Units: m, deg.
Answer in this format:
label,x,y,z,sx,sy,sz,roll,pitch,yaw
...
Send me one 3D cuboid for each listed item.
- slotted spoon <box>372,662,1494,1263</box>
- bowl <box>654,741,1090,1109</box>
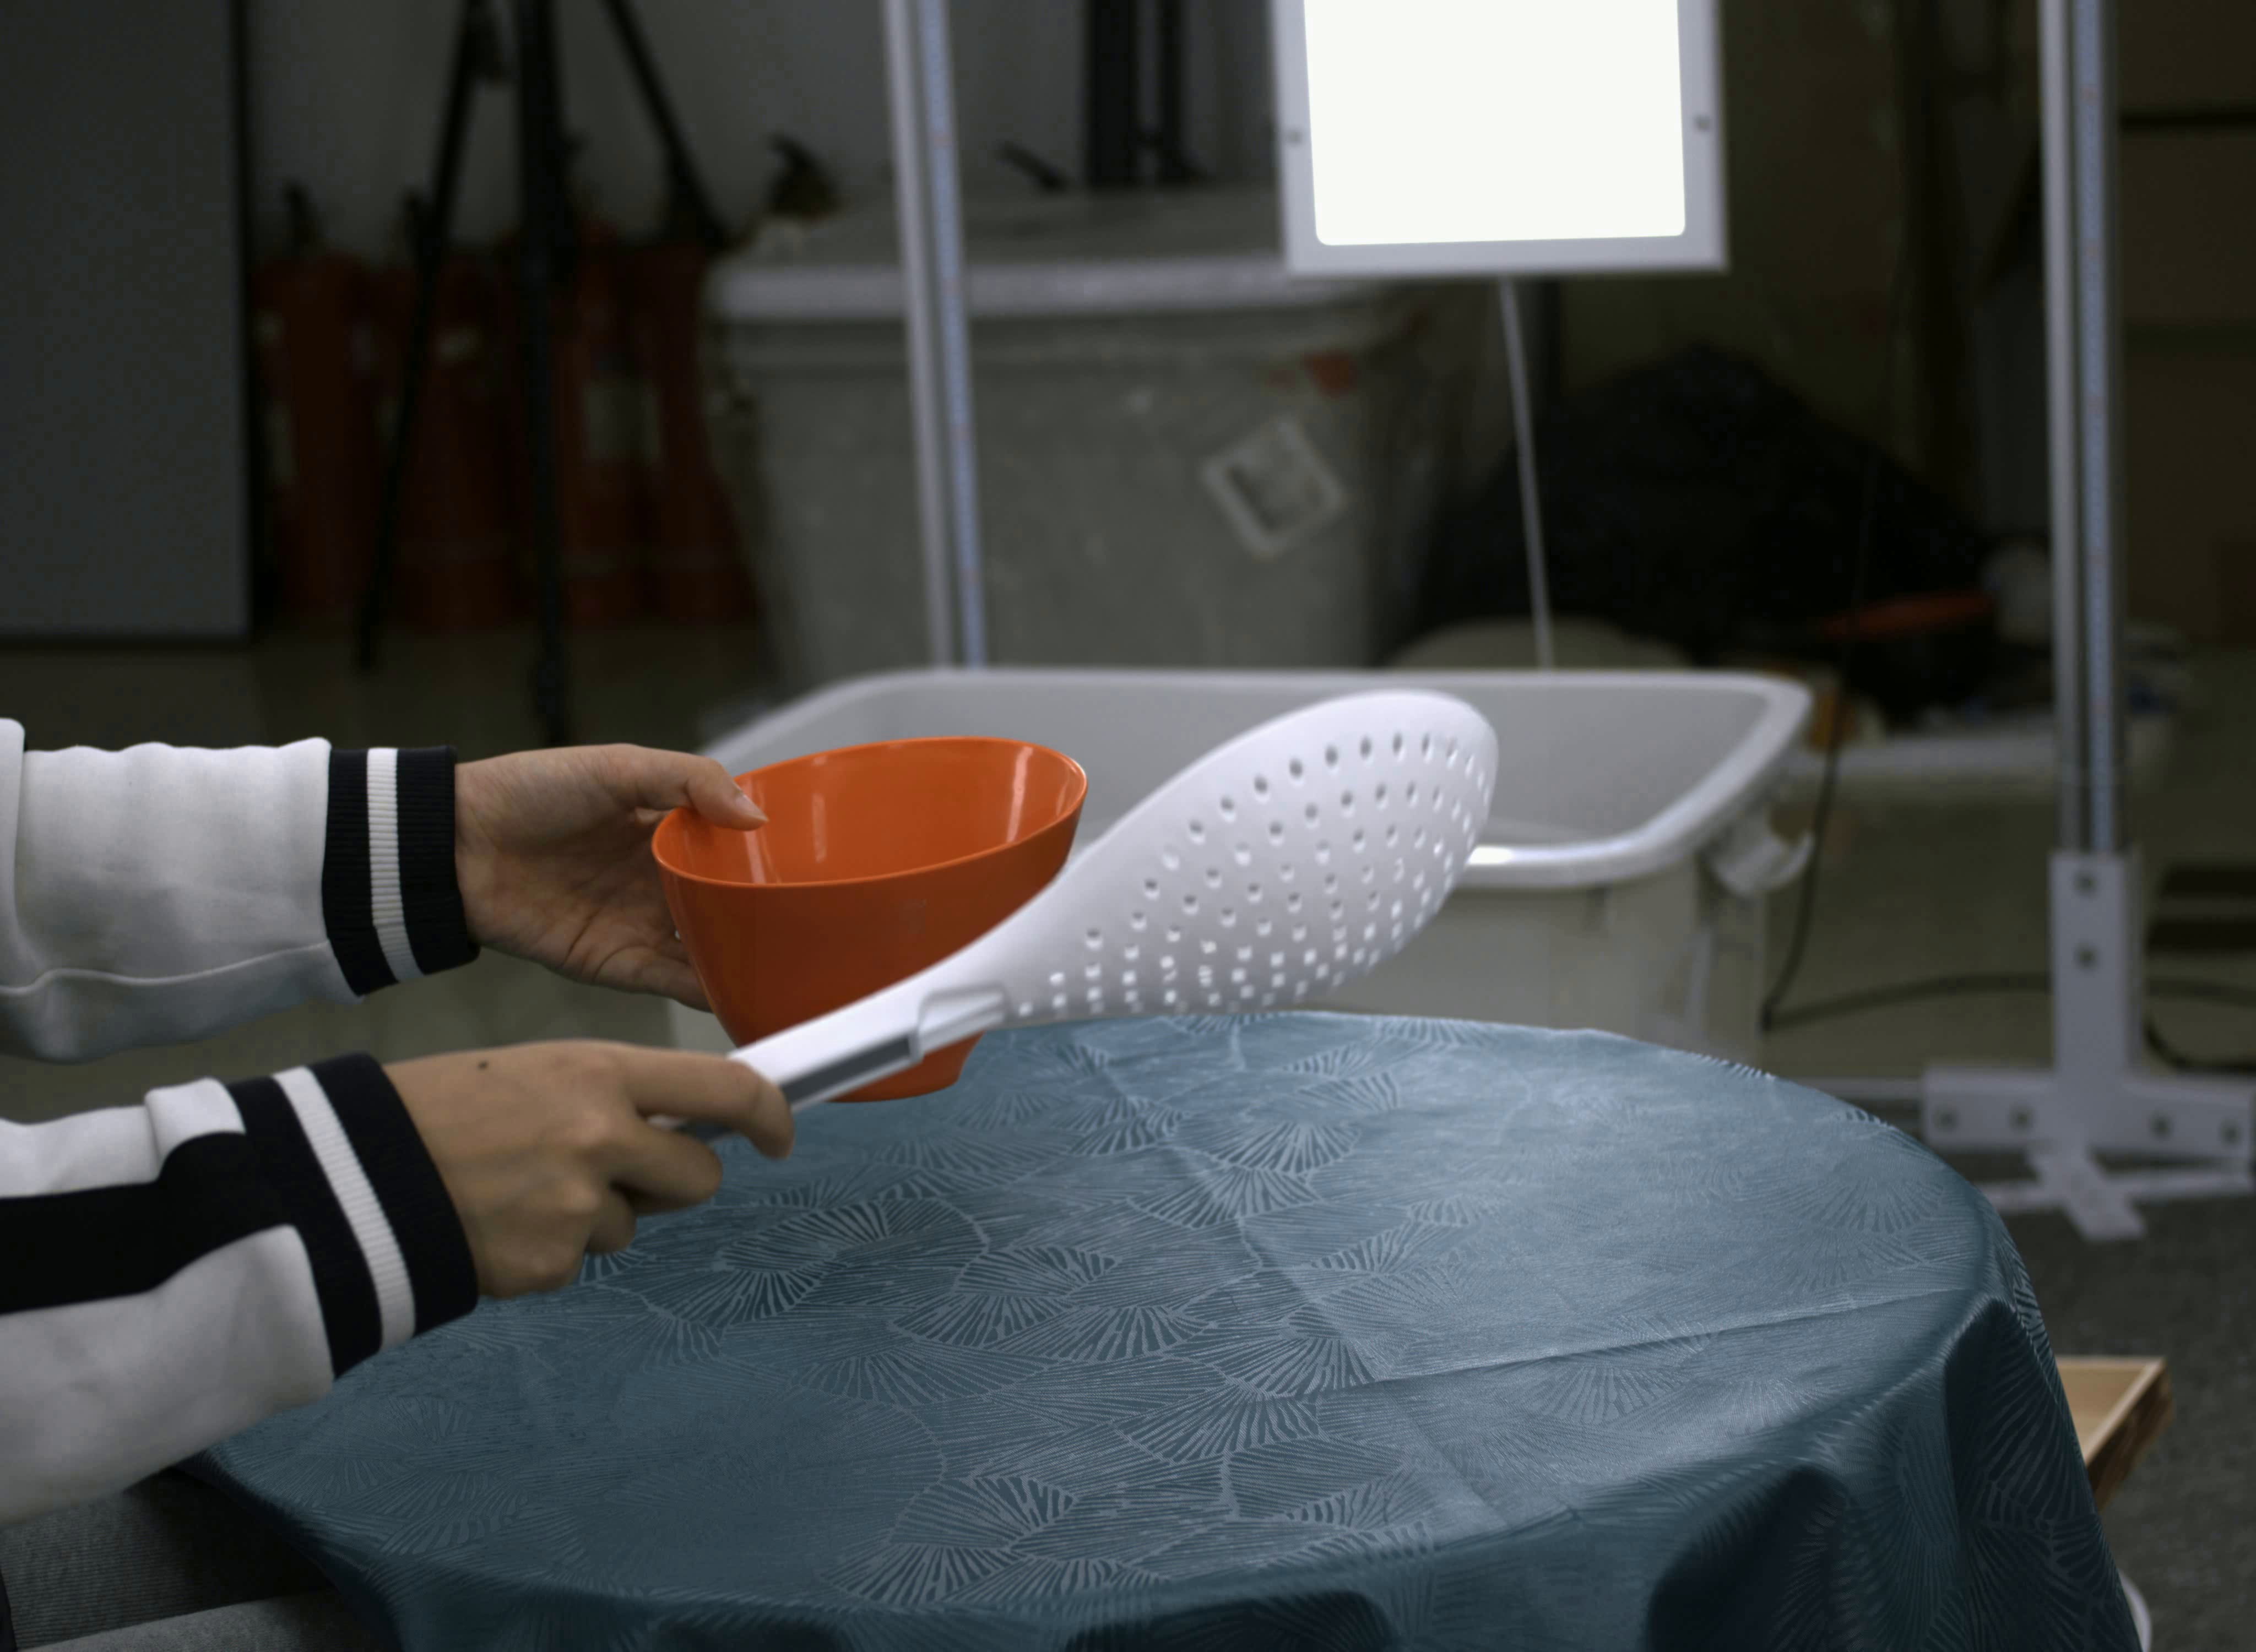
label,x,y,z,sx,sy,sz,roll,pitch,yaw
slotted spoon,-0.051,0.046,1.564,0.347,0.136,0.046,-19,59,-4
bowl,-0.085,0.036,1.859,0.147,0.105,0.148,-2,12,-1
